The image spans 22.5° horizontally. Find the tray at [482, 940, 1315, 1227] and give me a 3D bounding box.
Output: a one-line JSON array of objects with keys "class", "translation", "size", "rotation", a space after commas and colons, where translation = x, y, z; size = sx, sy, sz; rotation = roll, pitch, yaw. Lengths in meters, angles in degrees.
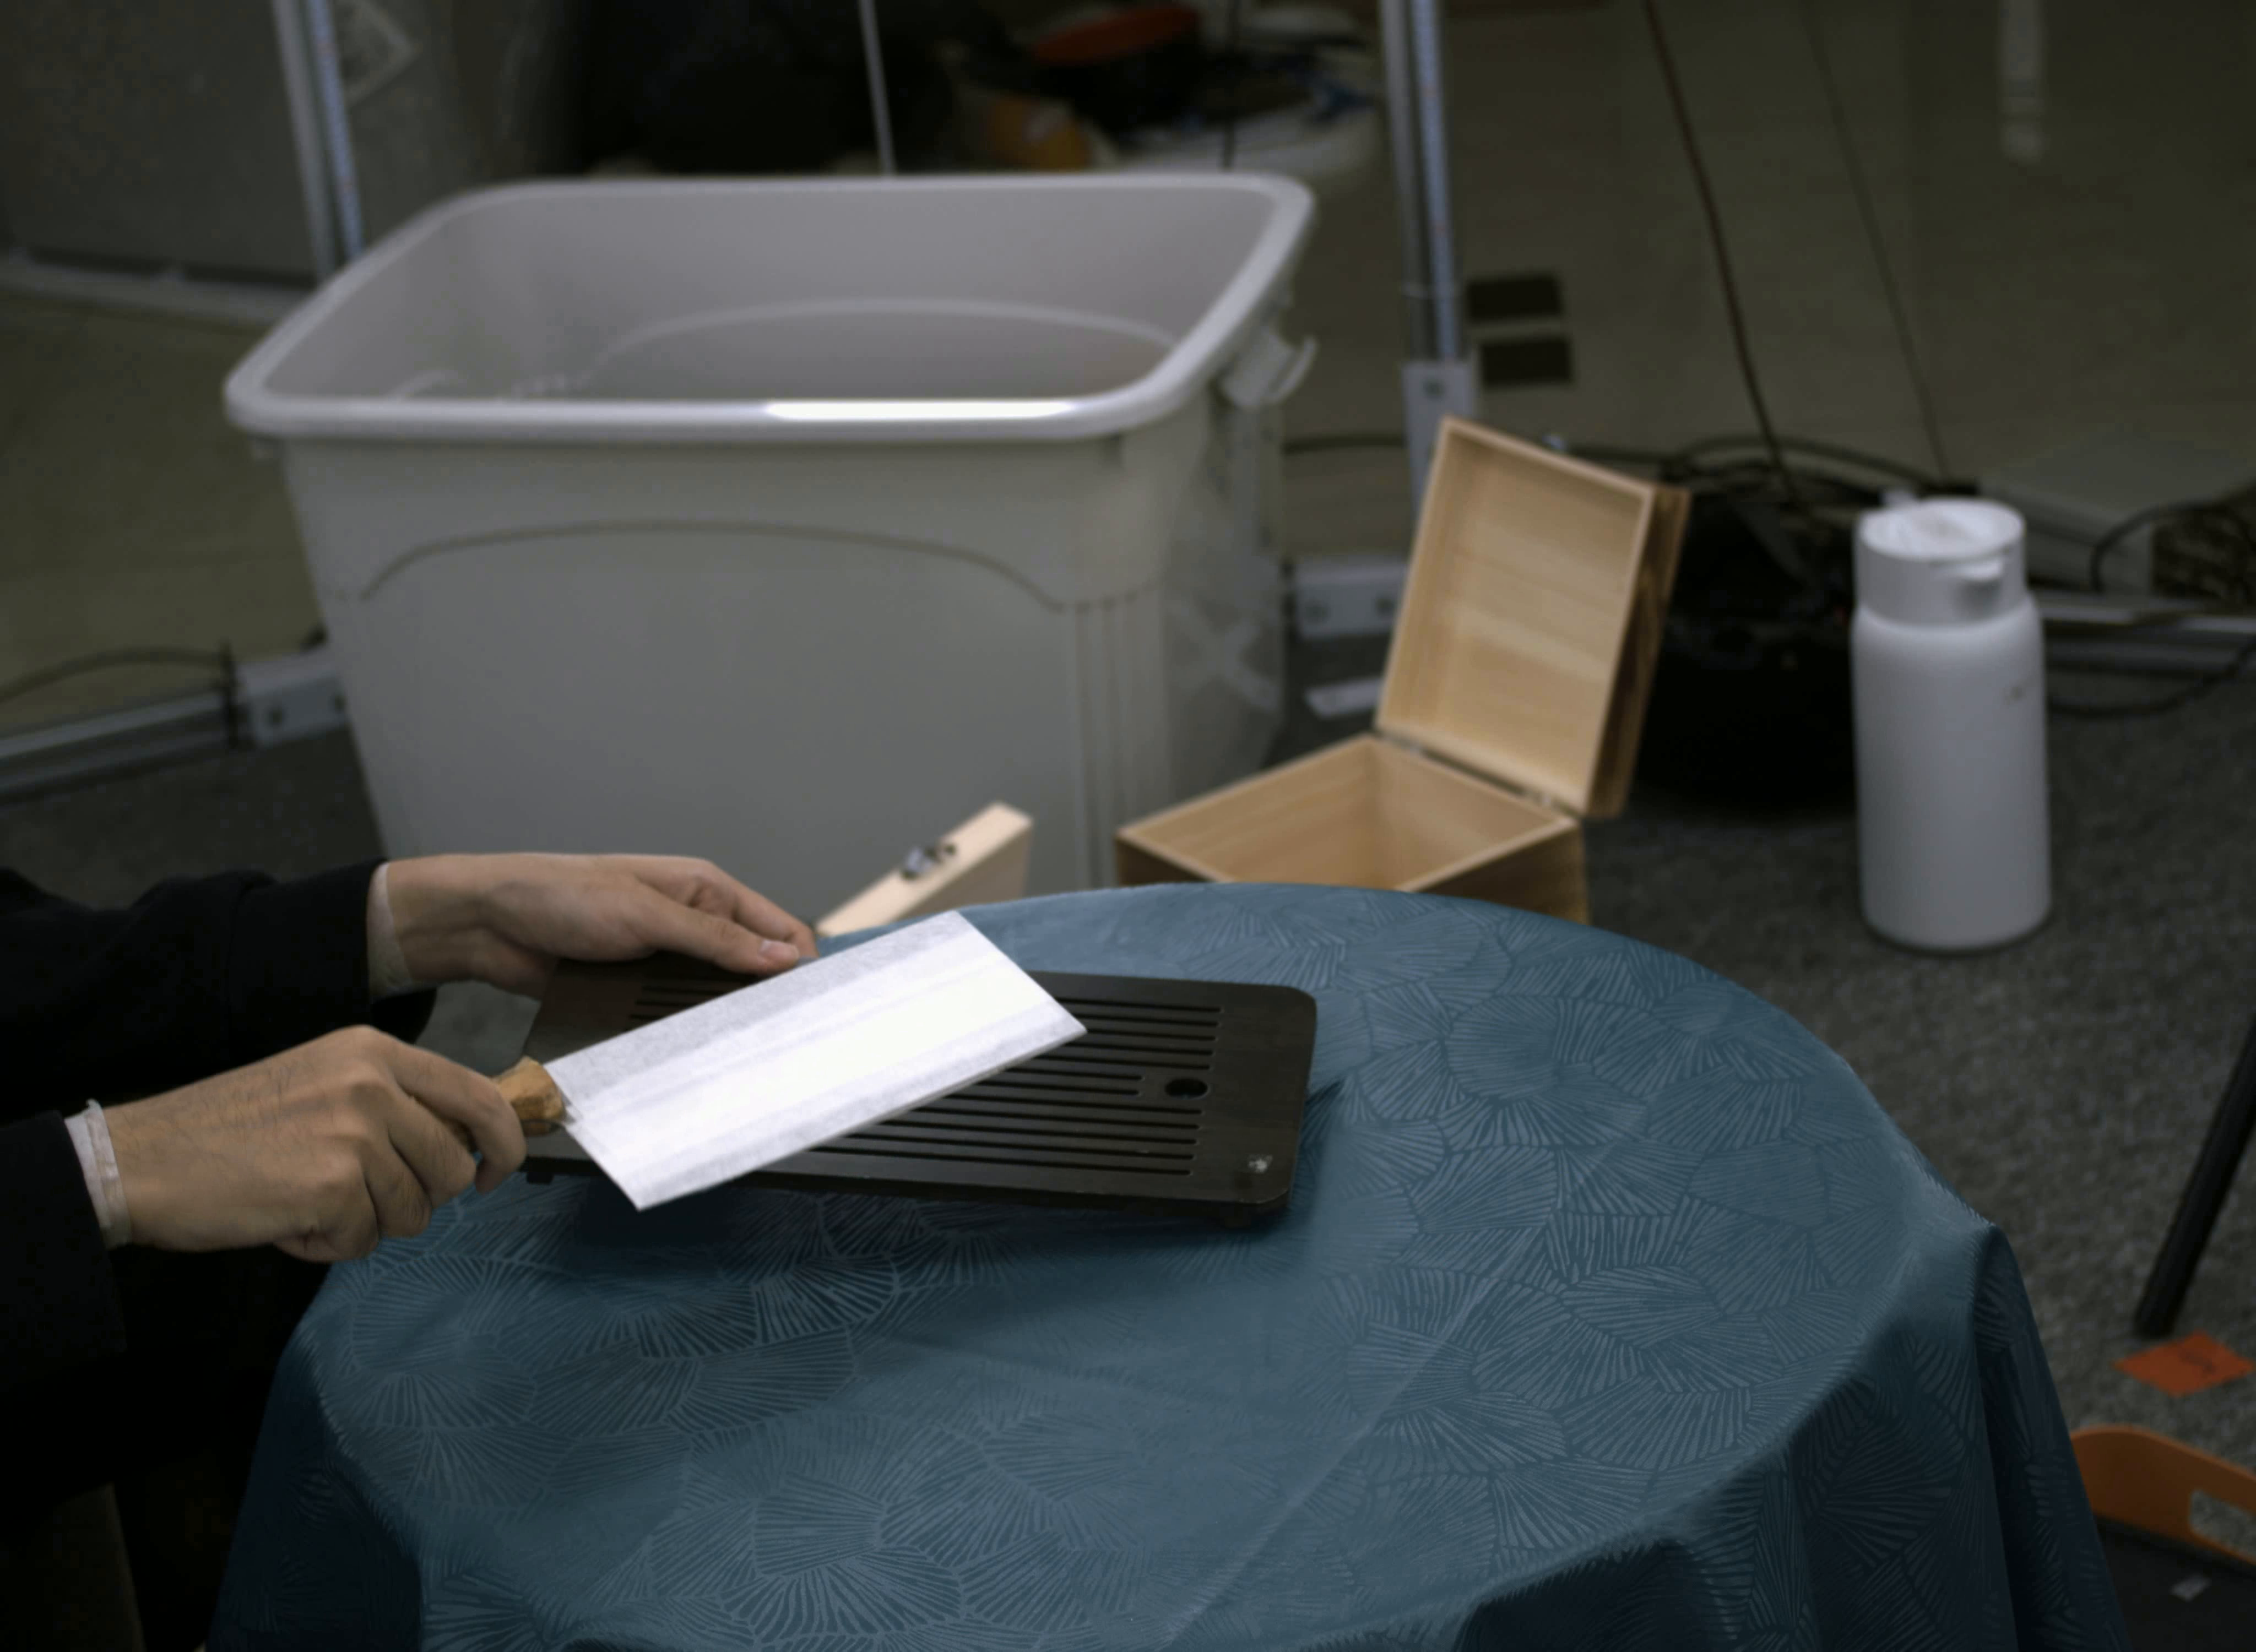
[{"class": "tray", "translation": [-0.085, 0.099, 2.189], "size": [0.305, 0.019, 0.167], "rotation": [4, 28, 5]}]

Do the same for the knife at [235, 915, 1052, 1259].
[{"class": "knife", "translation": [-0.164, 0.101, 2.014], "size": [0.304, 0.021, 0.091], "rotation": [-21, 43, -28]}]
